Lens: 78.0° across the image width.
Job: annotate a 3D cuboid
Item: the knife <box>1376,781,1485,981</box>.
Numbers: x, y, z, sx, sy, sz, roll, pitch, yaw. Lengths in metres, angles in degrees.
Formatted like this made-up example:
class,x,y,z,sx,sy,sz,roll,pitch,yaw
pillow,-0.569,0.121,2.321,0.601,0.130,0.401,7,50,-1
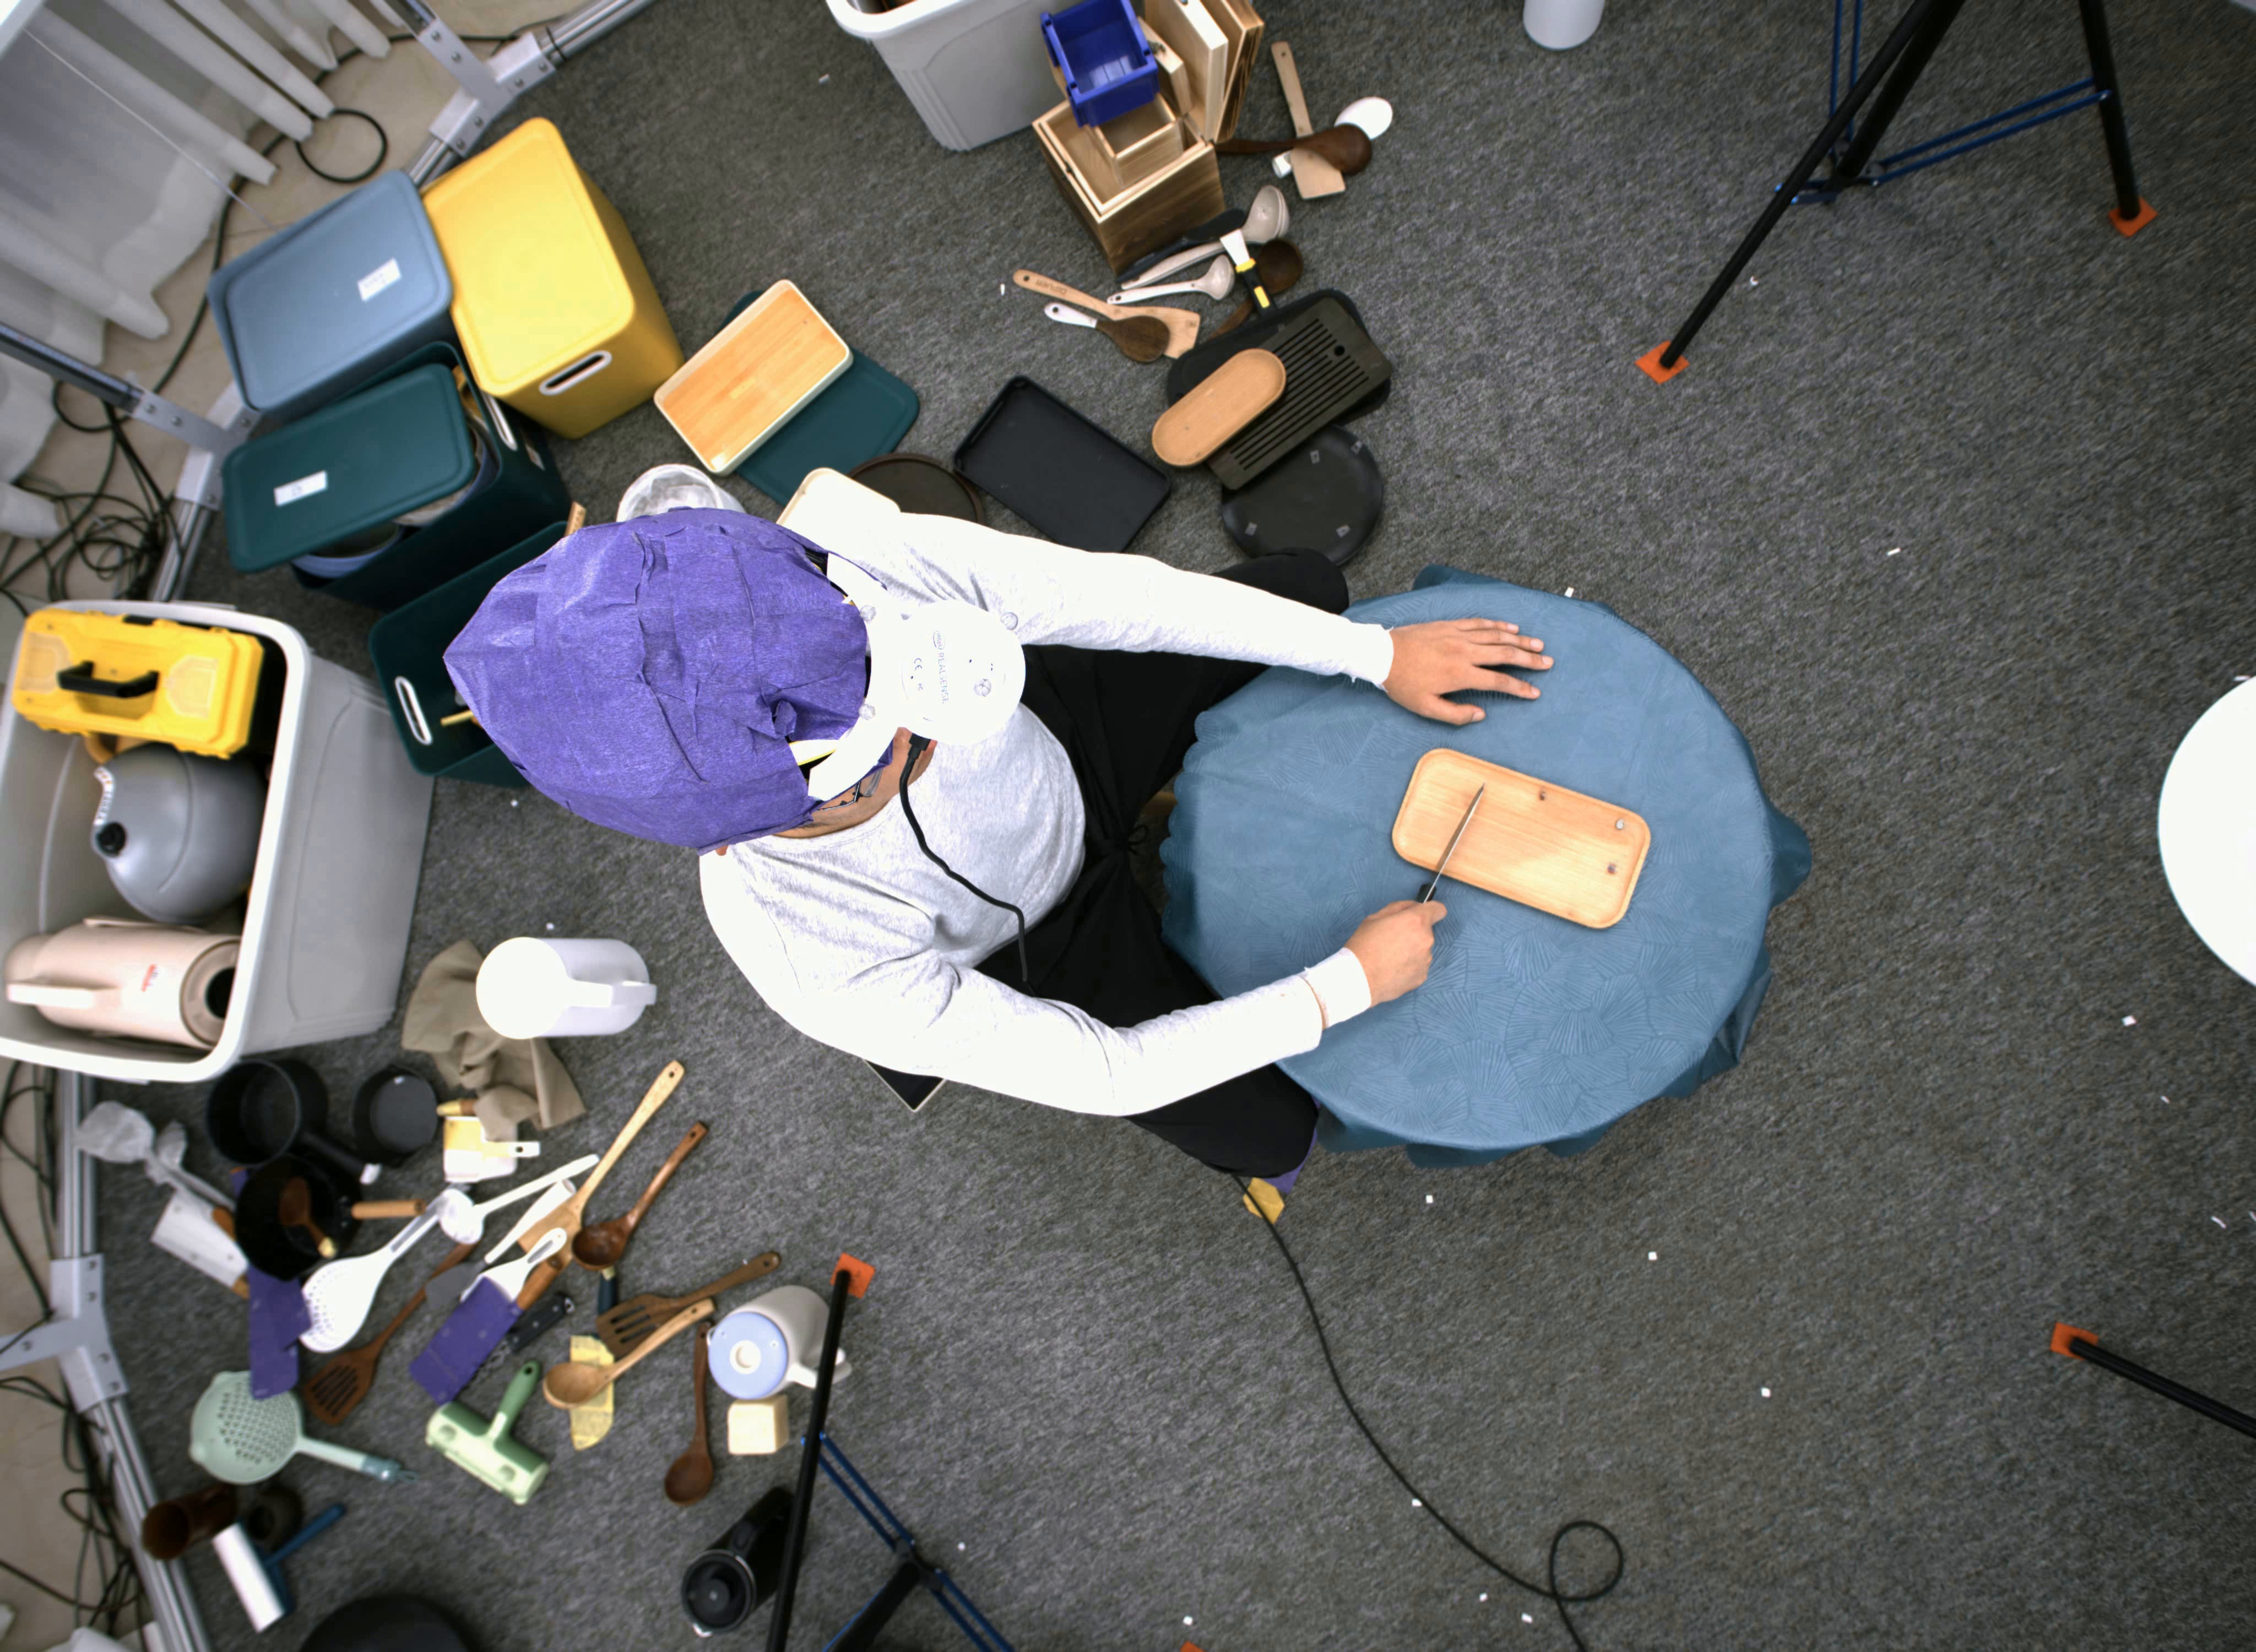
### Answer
class,x,y,z,sx,sy,sz,roll,pitch,yaw
knife,0.317,0.053,1.424,0.016,0.024,0.236,30,84,-5

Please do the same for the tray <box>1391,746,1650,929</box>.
class,x,y,z,sx,sy,sz,roll,pitch,yaw
tray,0.406,0.009,1.430,0.250,0.023,0.130,21,88,12
